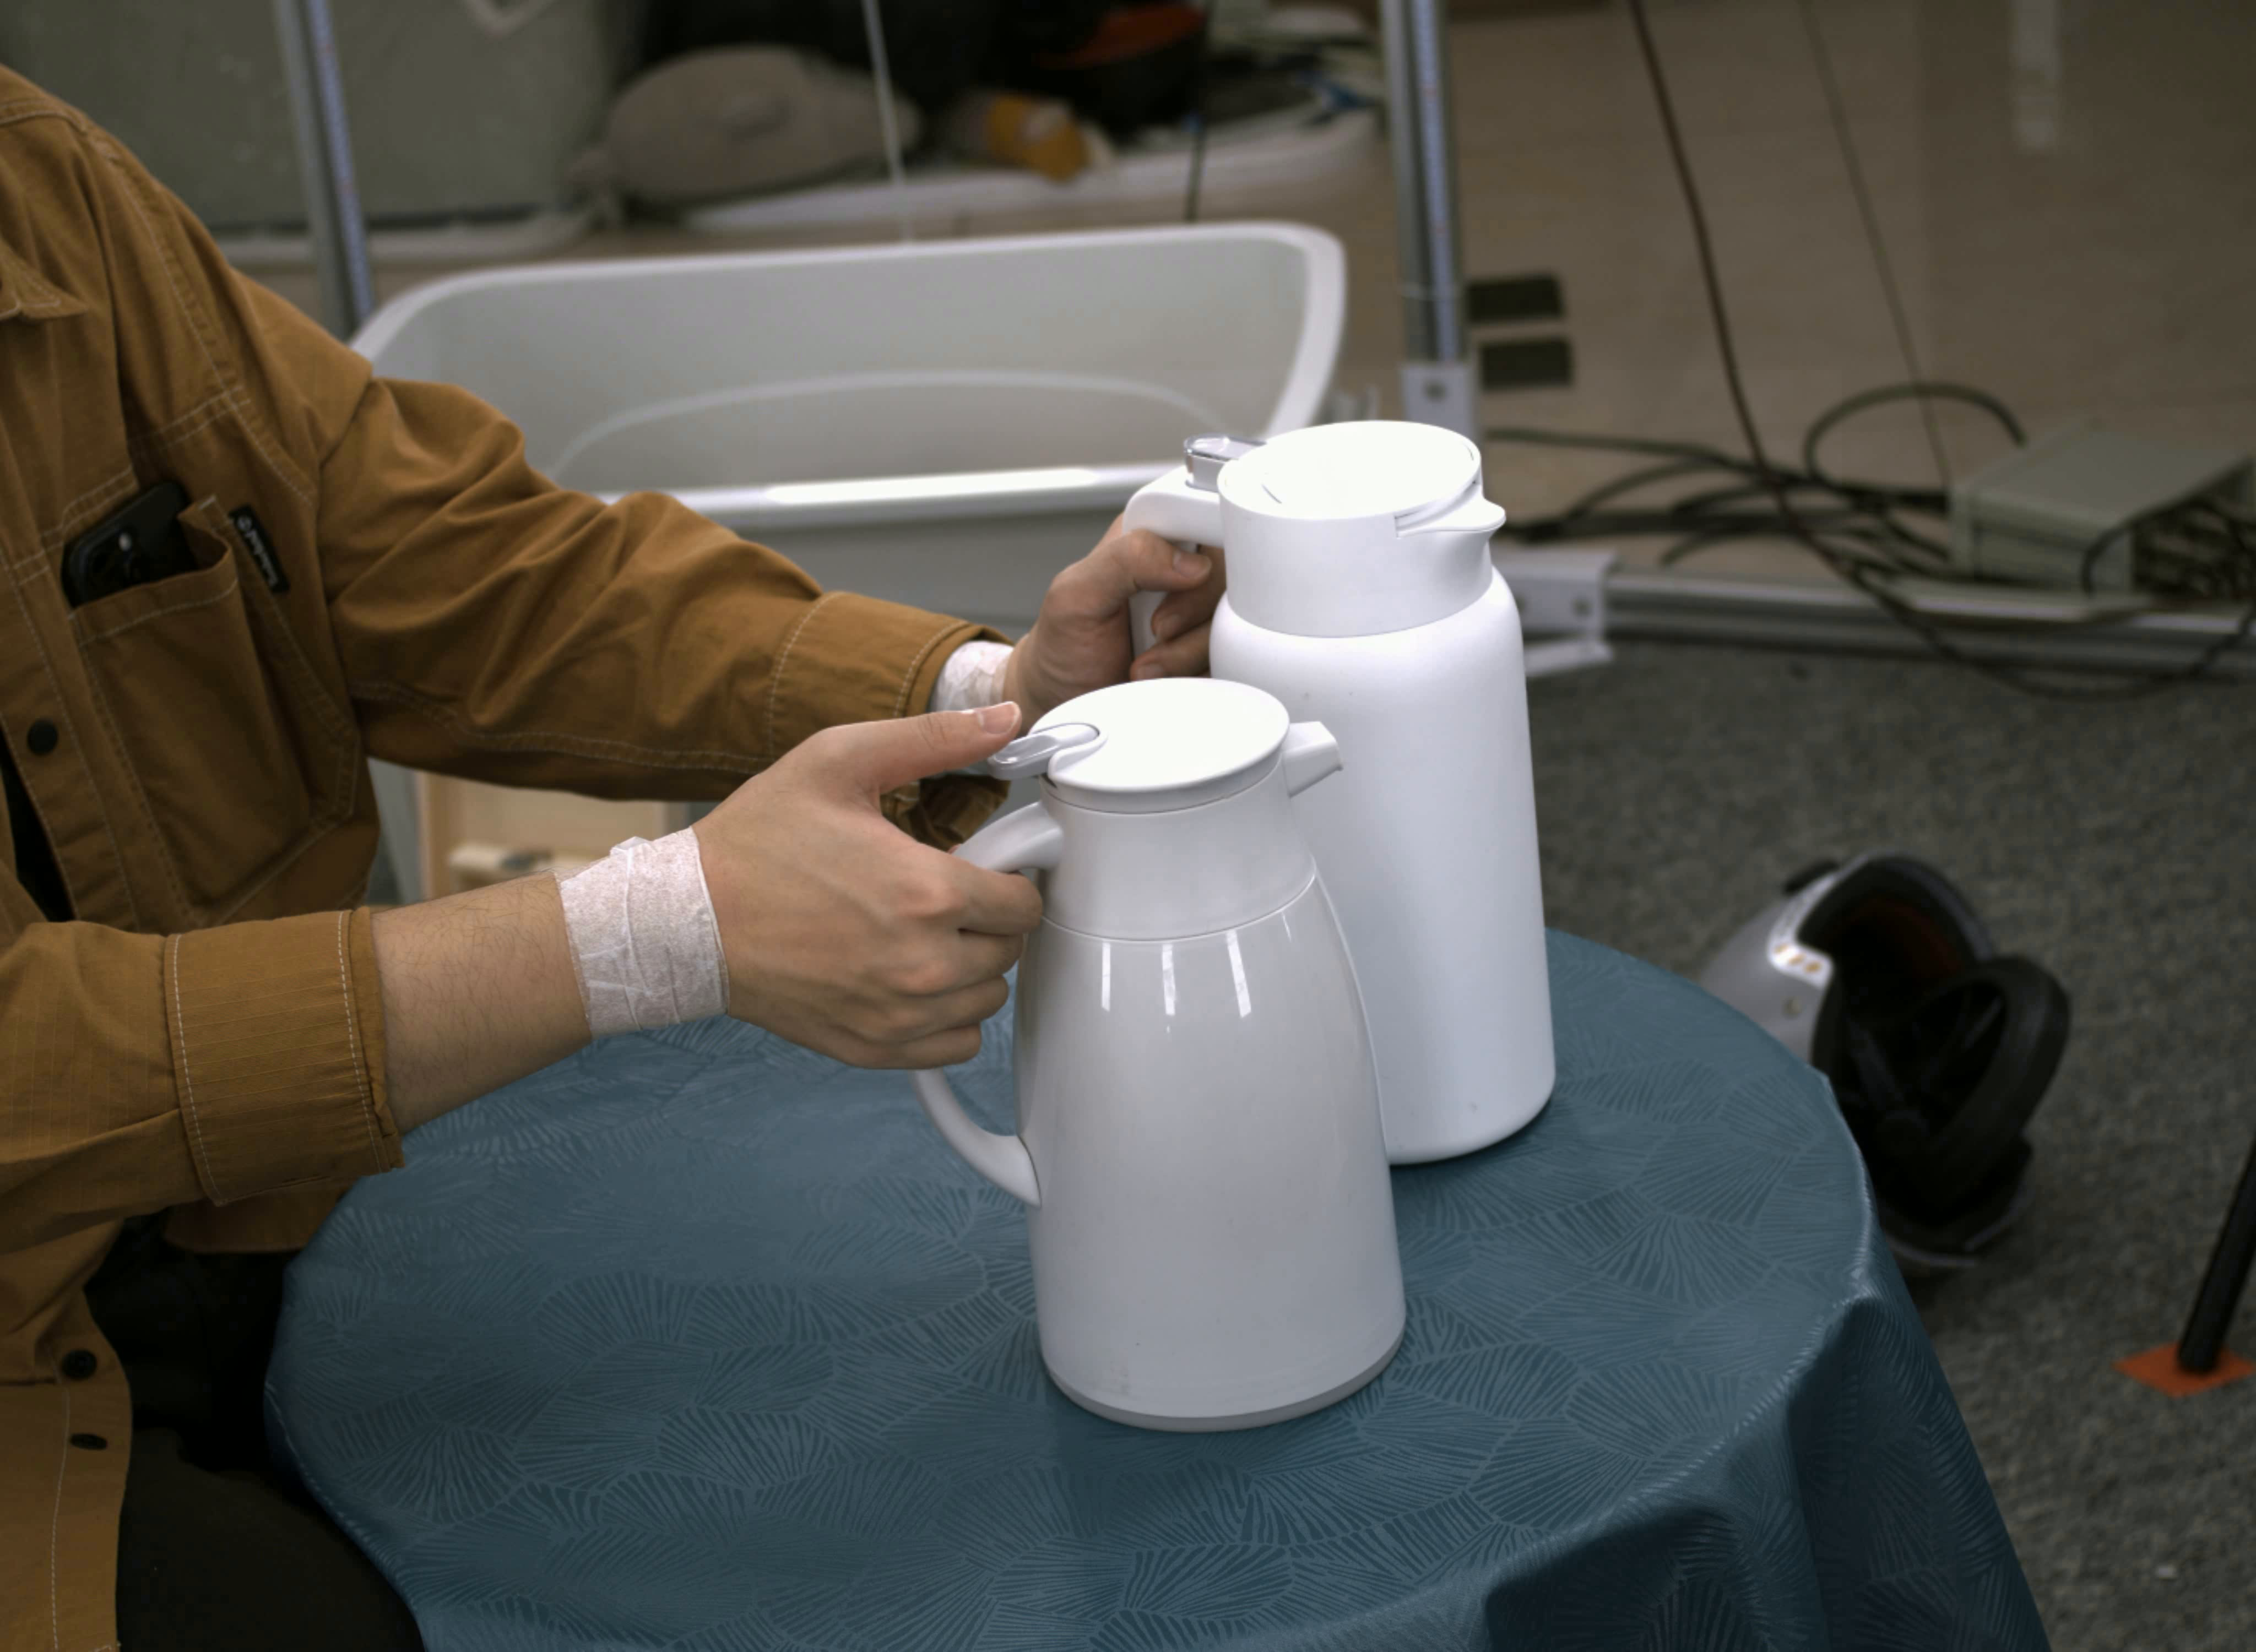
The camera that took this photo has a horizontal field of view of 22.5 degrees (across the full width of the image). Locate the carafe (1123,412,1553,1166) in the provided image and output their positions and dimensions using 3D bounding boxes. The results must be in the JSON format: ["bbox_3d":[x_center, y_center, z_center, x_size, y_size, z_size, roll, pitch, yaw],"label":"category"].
[{"bbox_3d":[0.080,-0.015,2.140,0.172,0.273,0.122,14,34,36],"label":"carafe"}]

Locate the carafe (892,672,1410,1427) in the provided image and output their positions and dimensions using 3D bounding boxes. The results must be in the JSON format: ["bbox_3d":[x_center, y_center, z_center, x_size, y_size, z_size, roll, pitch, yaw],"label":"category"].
[{"bbox_3d":[0.004,0.076,1.983,0.167,0.252,0.131,-14,27,-12],"label":"carafe"}]
